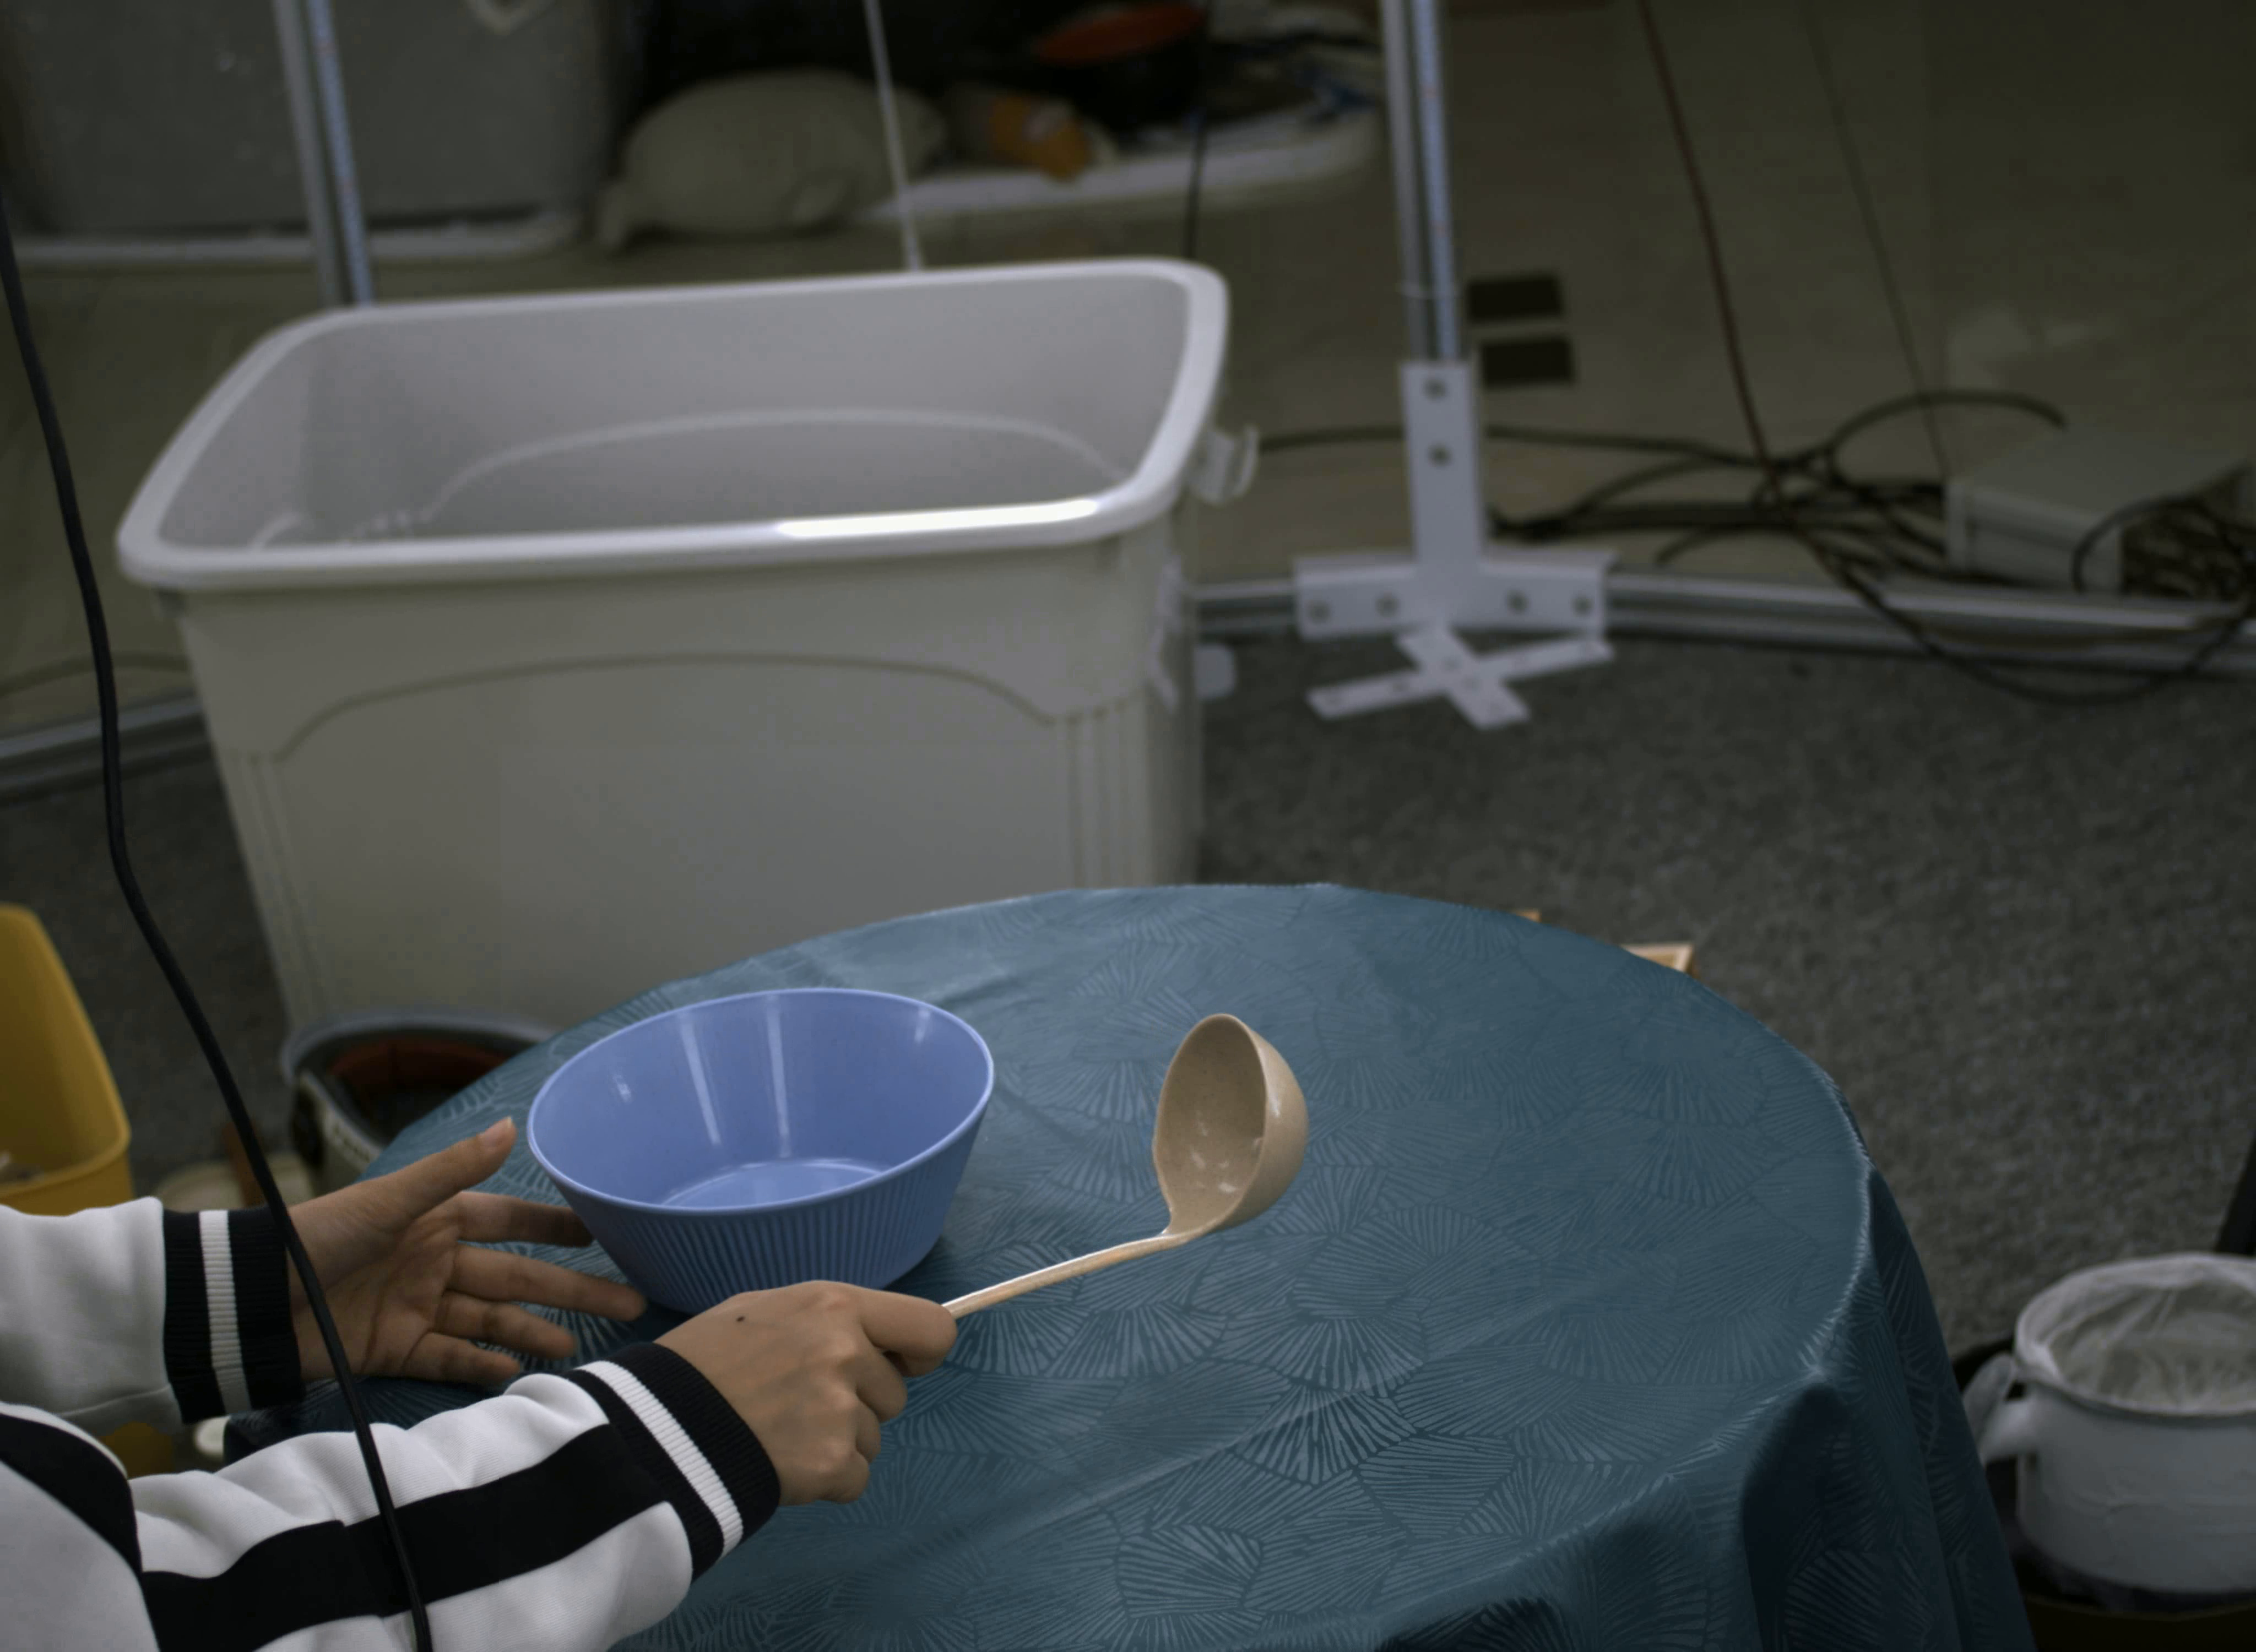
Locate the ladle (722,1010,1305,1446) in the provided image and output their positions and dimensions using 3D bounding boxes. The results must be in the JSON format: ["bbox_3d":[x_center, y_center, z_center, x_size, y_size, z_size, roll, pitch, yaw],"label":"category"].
[{"bbox_3d":[-0.047,0.132,1.928,0.253,0.073,0.072,-21,4,-35],"label":"ladle"}]

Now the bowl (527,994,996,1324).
[{"bbox_3d":[-0.132,0.130,2.116,0.176,0.071,0.173,-6,24,3],"label":"bowl"}]
